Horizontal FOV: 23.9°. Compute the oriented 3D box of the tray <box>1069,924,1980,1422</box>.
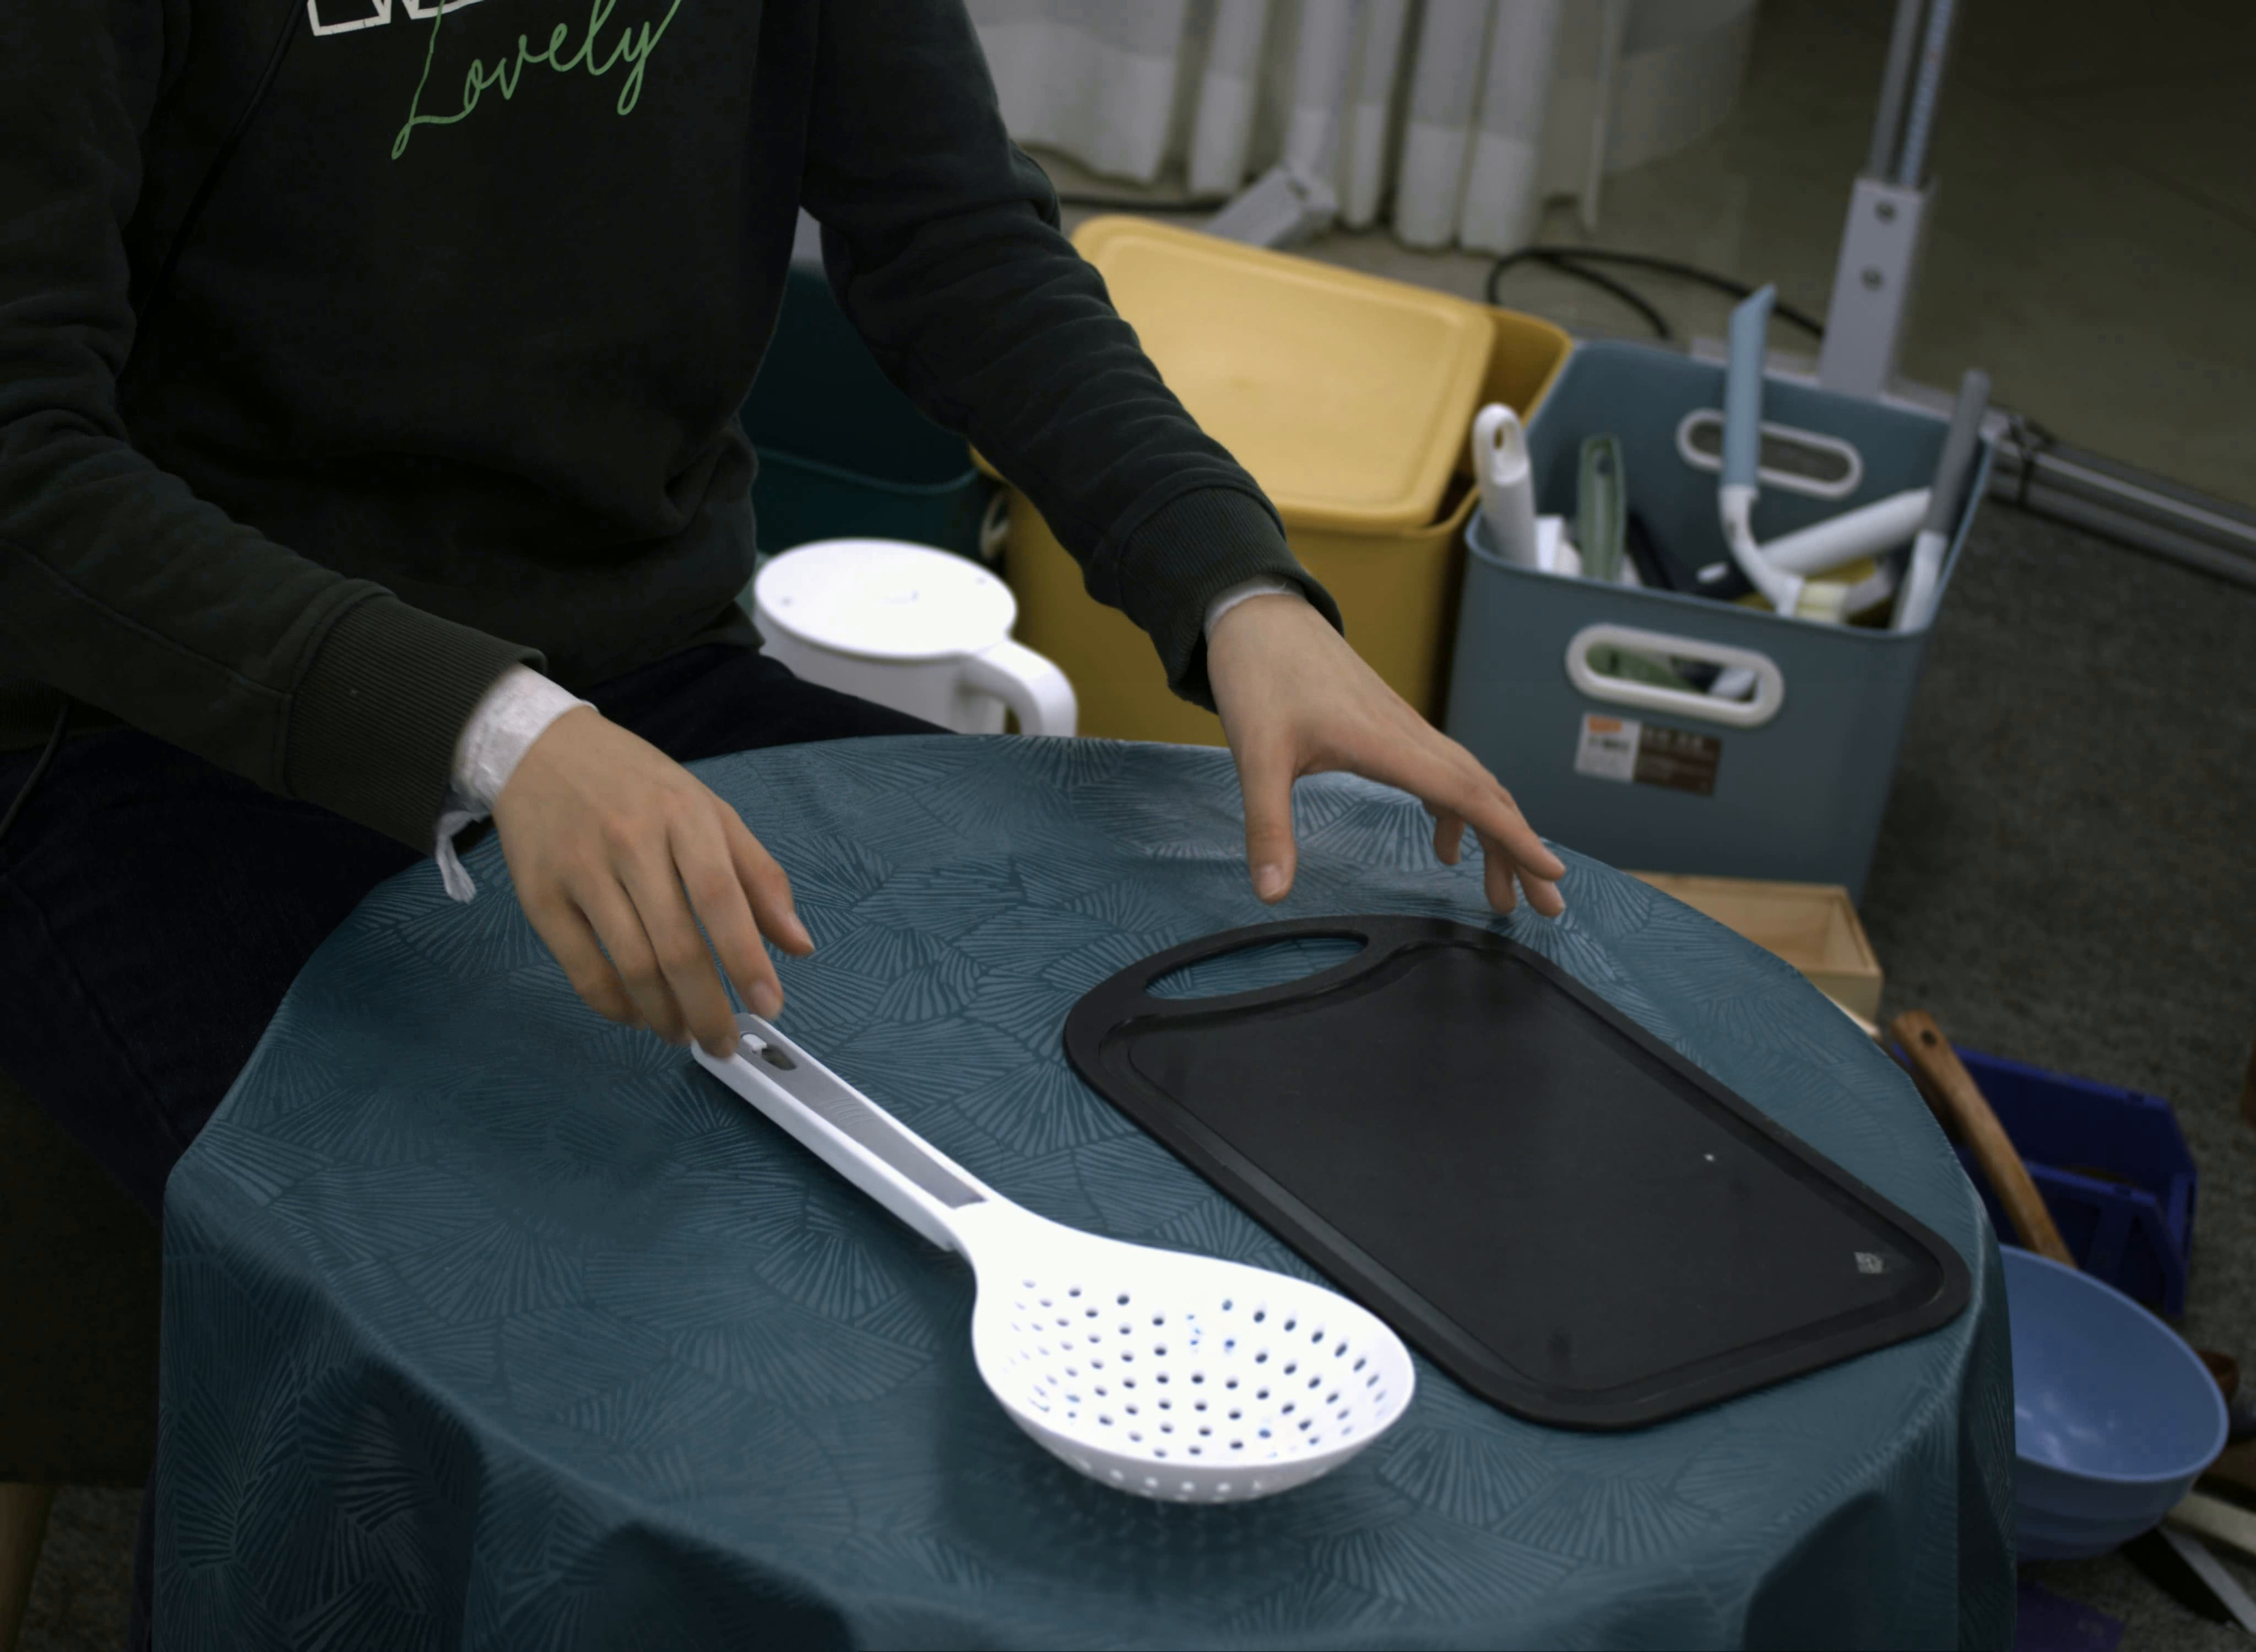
[{"bbox_3d":[0.128,0.110,1.848,0.210,0.010,0.328,-12,32,-33],"label":"tray"}]

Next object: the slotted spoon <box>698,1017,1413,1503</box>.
[{"bbox_3d":[-0.042,0.134,1.720,0.135,0.045,0.353,-10,30,-34],"label":"slotted spoon"}]
